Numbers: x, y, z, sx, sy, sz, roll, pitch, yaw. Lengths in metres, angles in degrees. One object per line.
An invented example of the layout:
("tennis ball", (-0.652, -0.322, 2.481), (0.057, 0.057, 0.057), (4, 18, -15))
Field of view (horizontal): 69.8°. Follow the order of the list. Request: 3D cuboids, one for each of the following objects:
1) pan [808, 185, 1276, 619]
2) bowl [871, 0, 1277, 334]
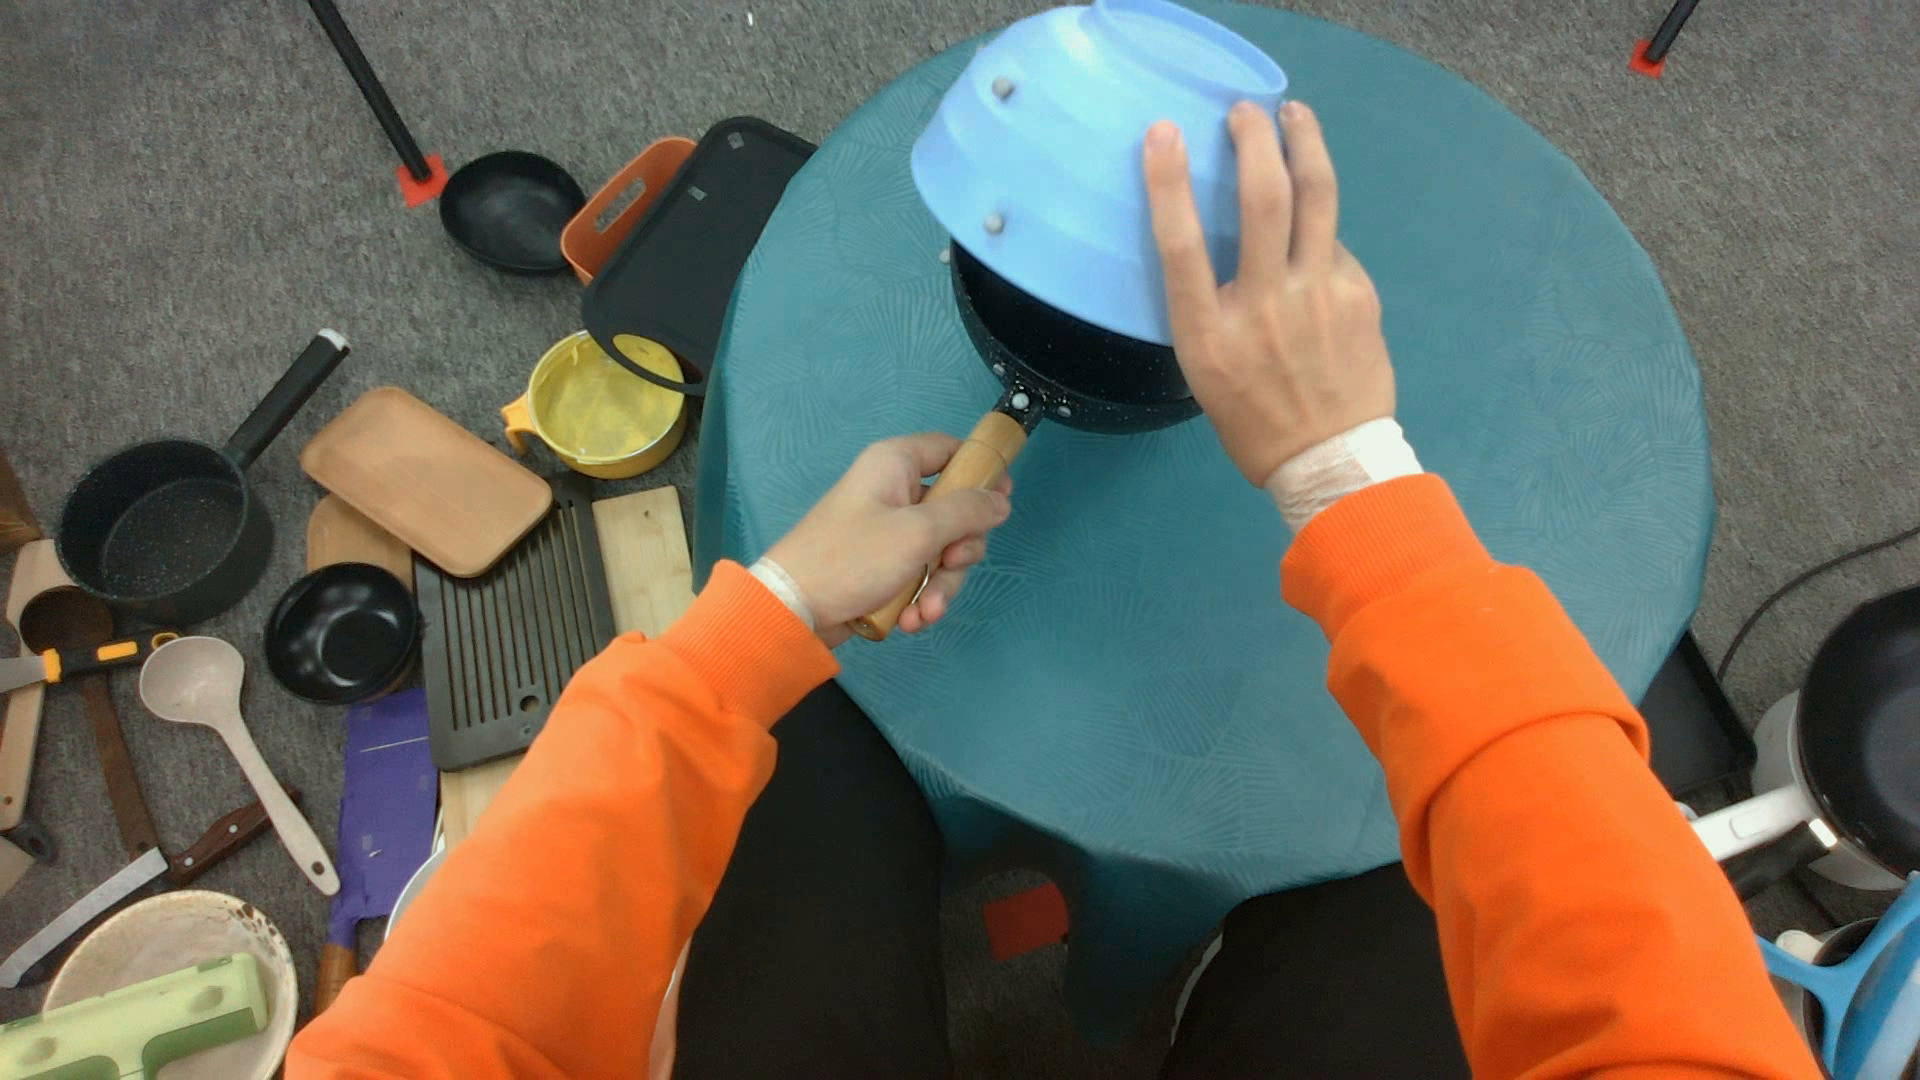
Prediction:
("pan", (0.028, -0.091, 0.708), (0.207, 0.108, 0.344), (31, 72, 3))
("bowl", (0.066, -0.189, 0.635), (0.196, 0.095, 0.197), (15, 37, -11))
